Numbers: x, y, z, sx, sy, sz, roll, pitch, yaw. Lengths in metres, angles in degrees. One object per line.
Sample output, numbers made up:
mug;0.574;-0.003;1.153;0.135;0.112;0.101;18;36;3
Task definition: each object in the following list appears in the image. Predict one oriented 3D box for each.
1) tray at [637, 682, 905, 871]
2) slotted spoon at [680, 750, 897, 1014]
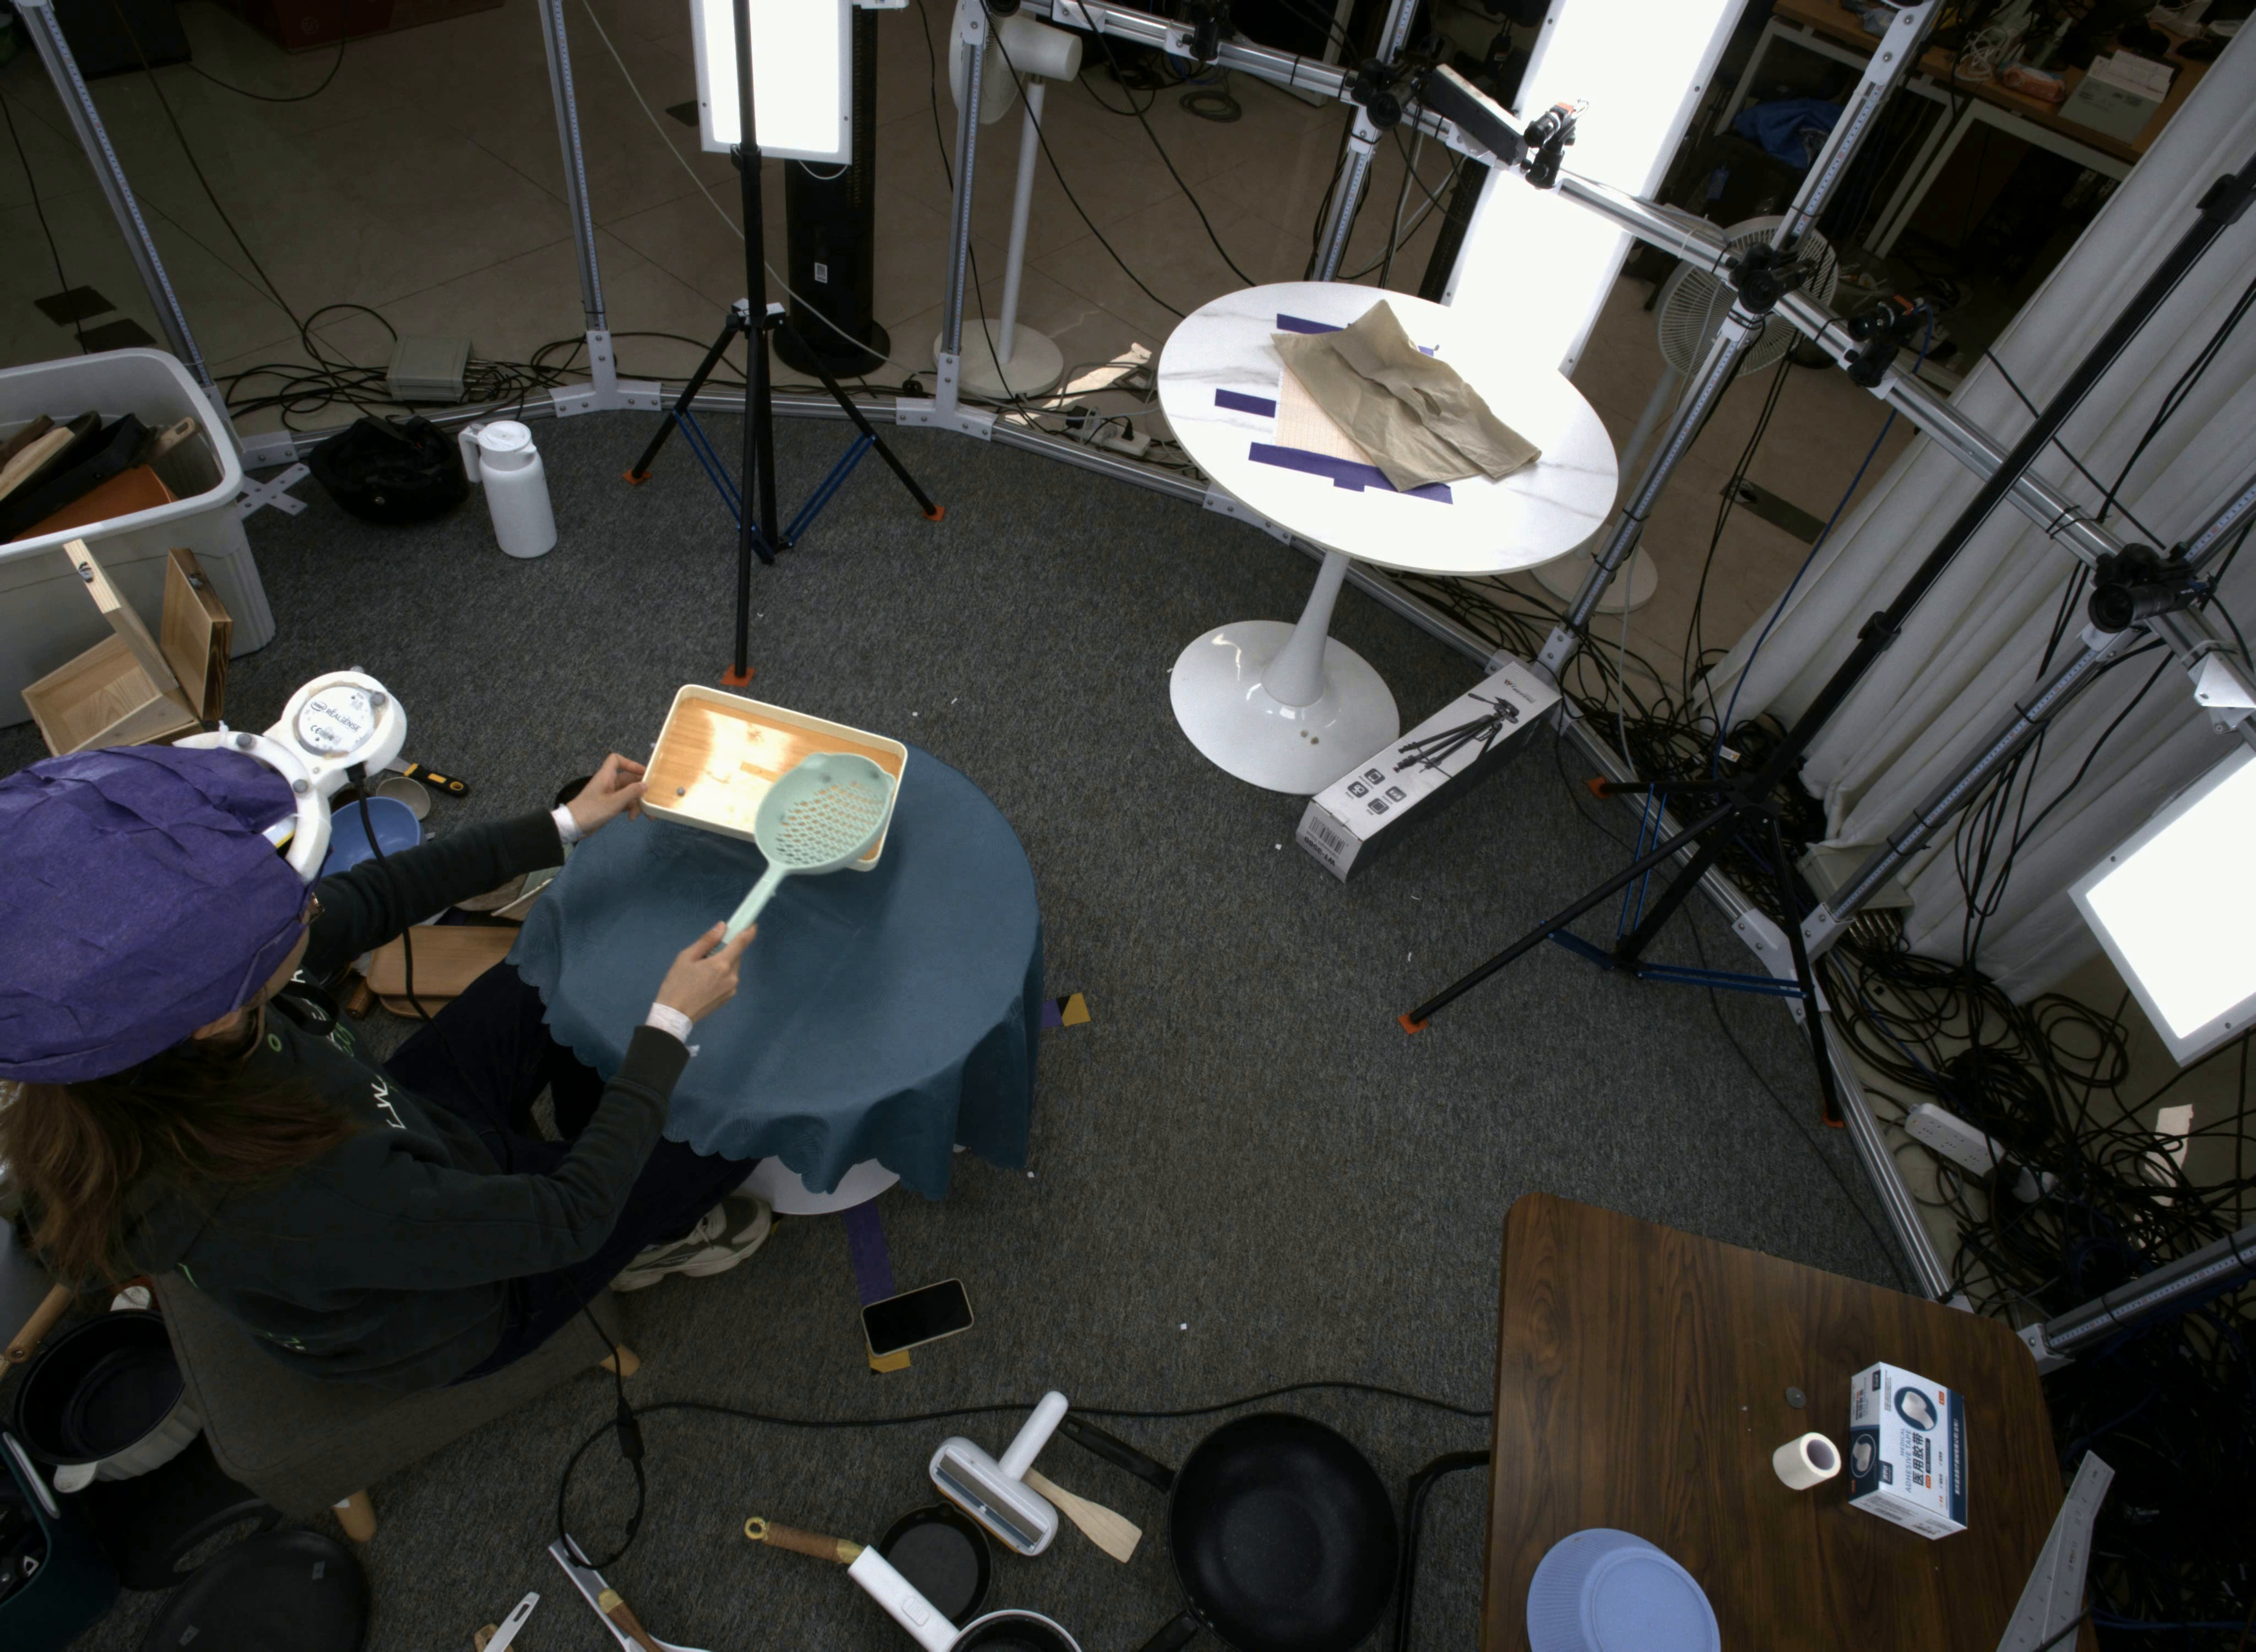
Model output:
tray;-0.444;-0.063;1.624;0.301;0.027;0.189;16;57;-12
slotted spoon;-0.400;0.057;1.479;0.164;0.078;0.357;17;51;26
